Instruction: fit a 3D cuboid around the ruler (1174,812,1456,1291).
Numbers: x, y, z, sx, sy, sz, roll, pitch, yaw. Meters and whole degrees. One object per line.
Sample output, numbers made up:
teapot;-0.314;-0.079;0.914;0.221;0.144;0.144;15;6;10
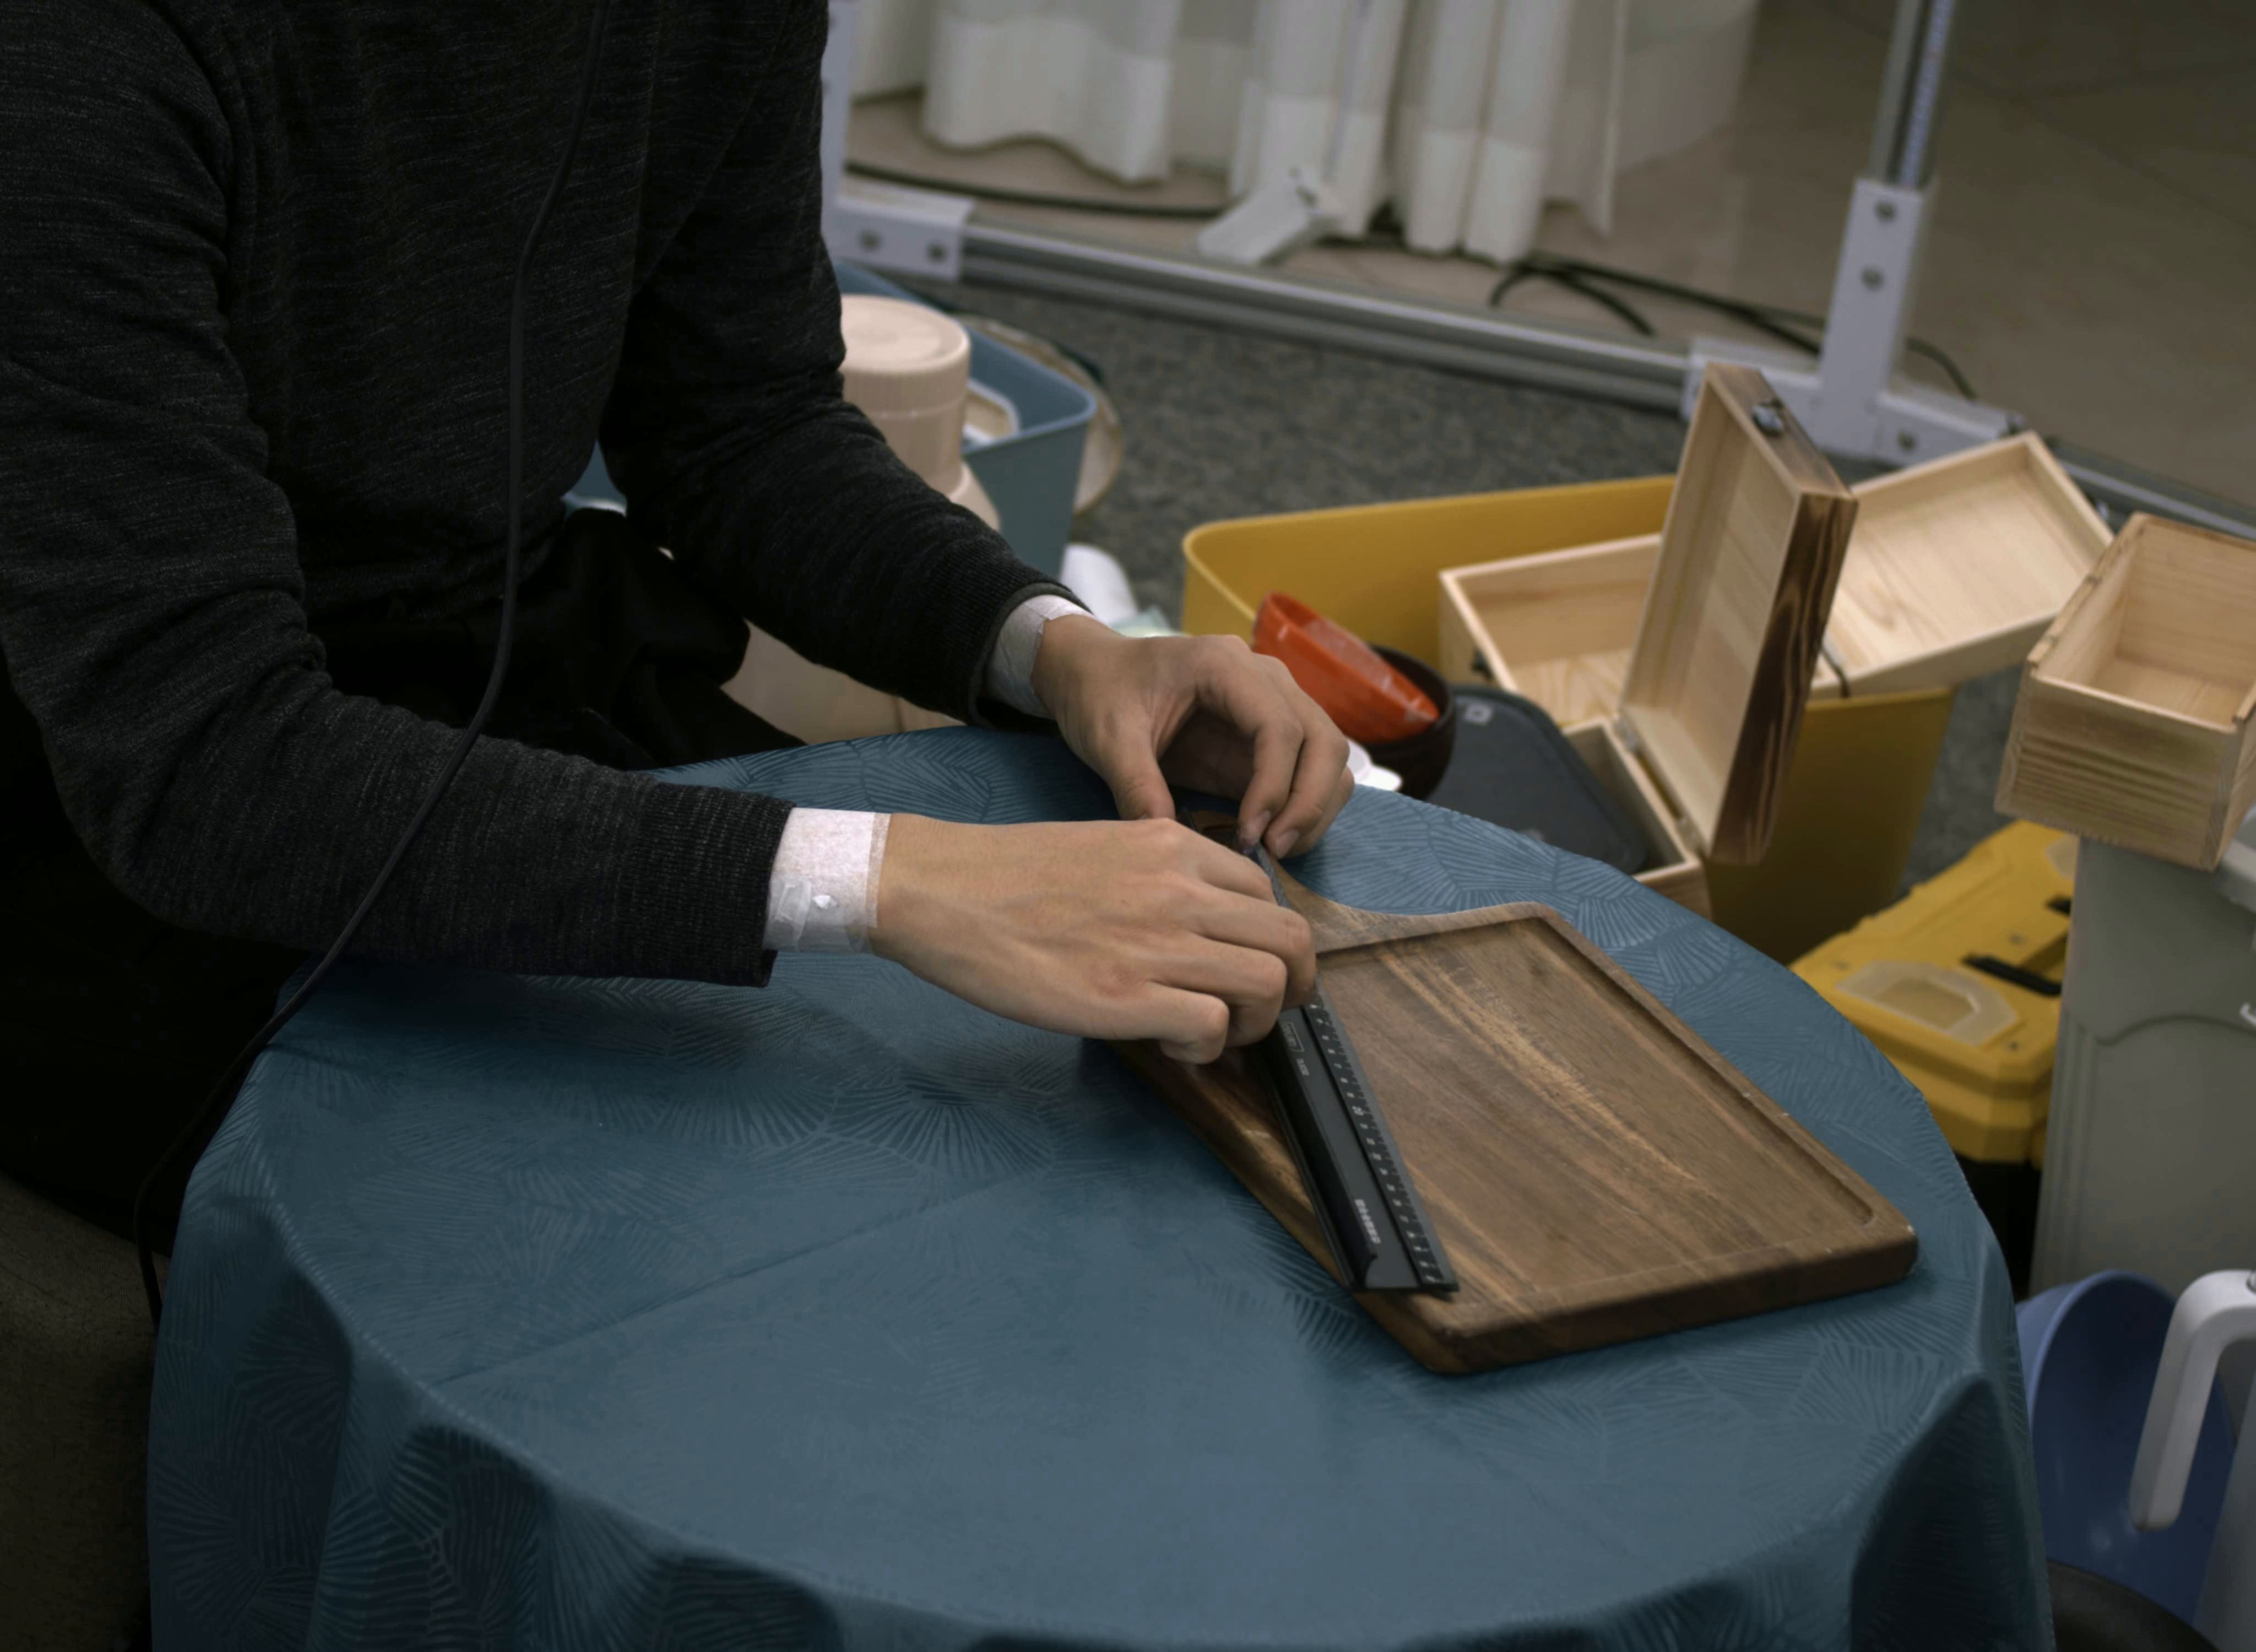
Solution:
ruler;0.063;0.073;1.855;0.039;0.017;0.315;3;27;-13

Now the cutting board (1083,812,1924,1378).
cutting board;0.104;0.081;1.886;0.200;0.023;0.355;-9;30;-28
